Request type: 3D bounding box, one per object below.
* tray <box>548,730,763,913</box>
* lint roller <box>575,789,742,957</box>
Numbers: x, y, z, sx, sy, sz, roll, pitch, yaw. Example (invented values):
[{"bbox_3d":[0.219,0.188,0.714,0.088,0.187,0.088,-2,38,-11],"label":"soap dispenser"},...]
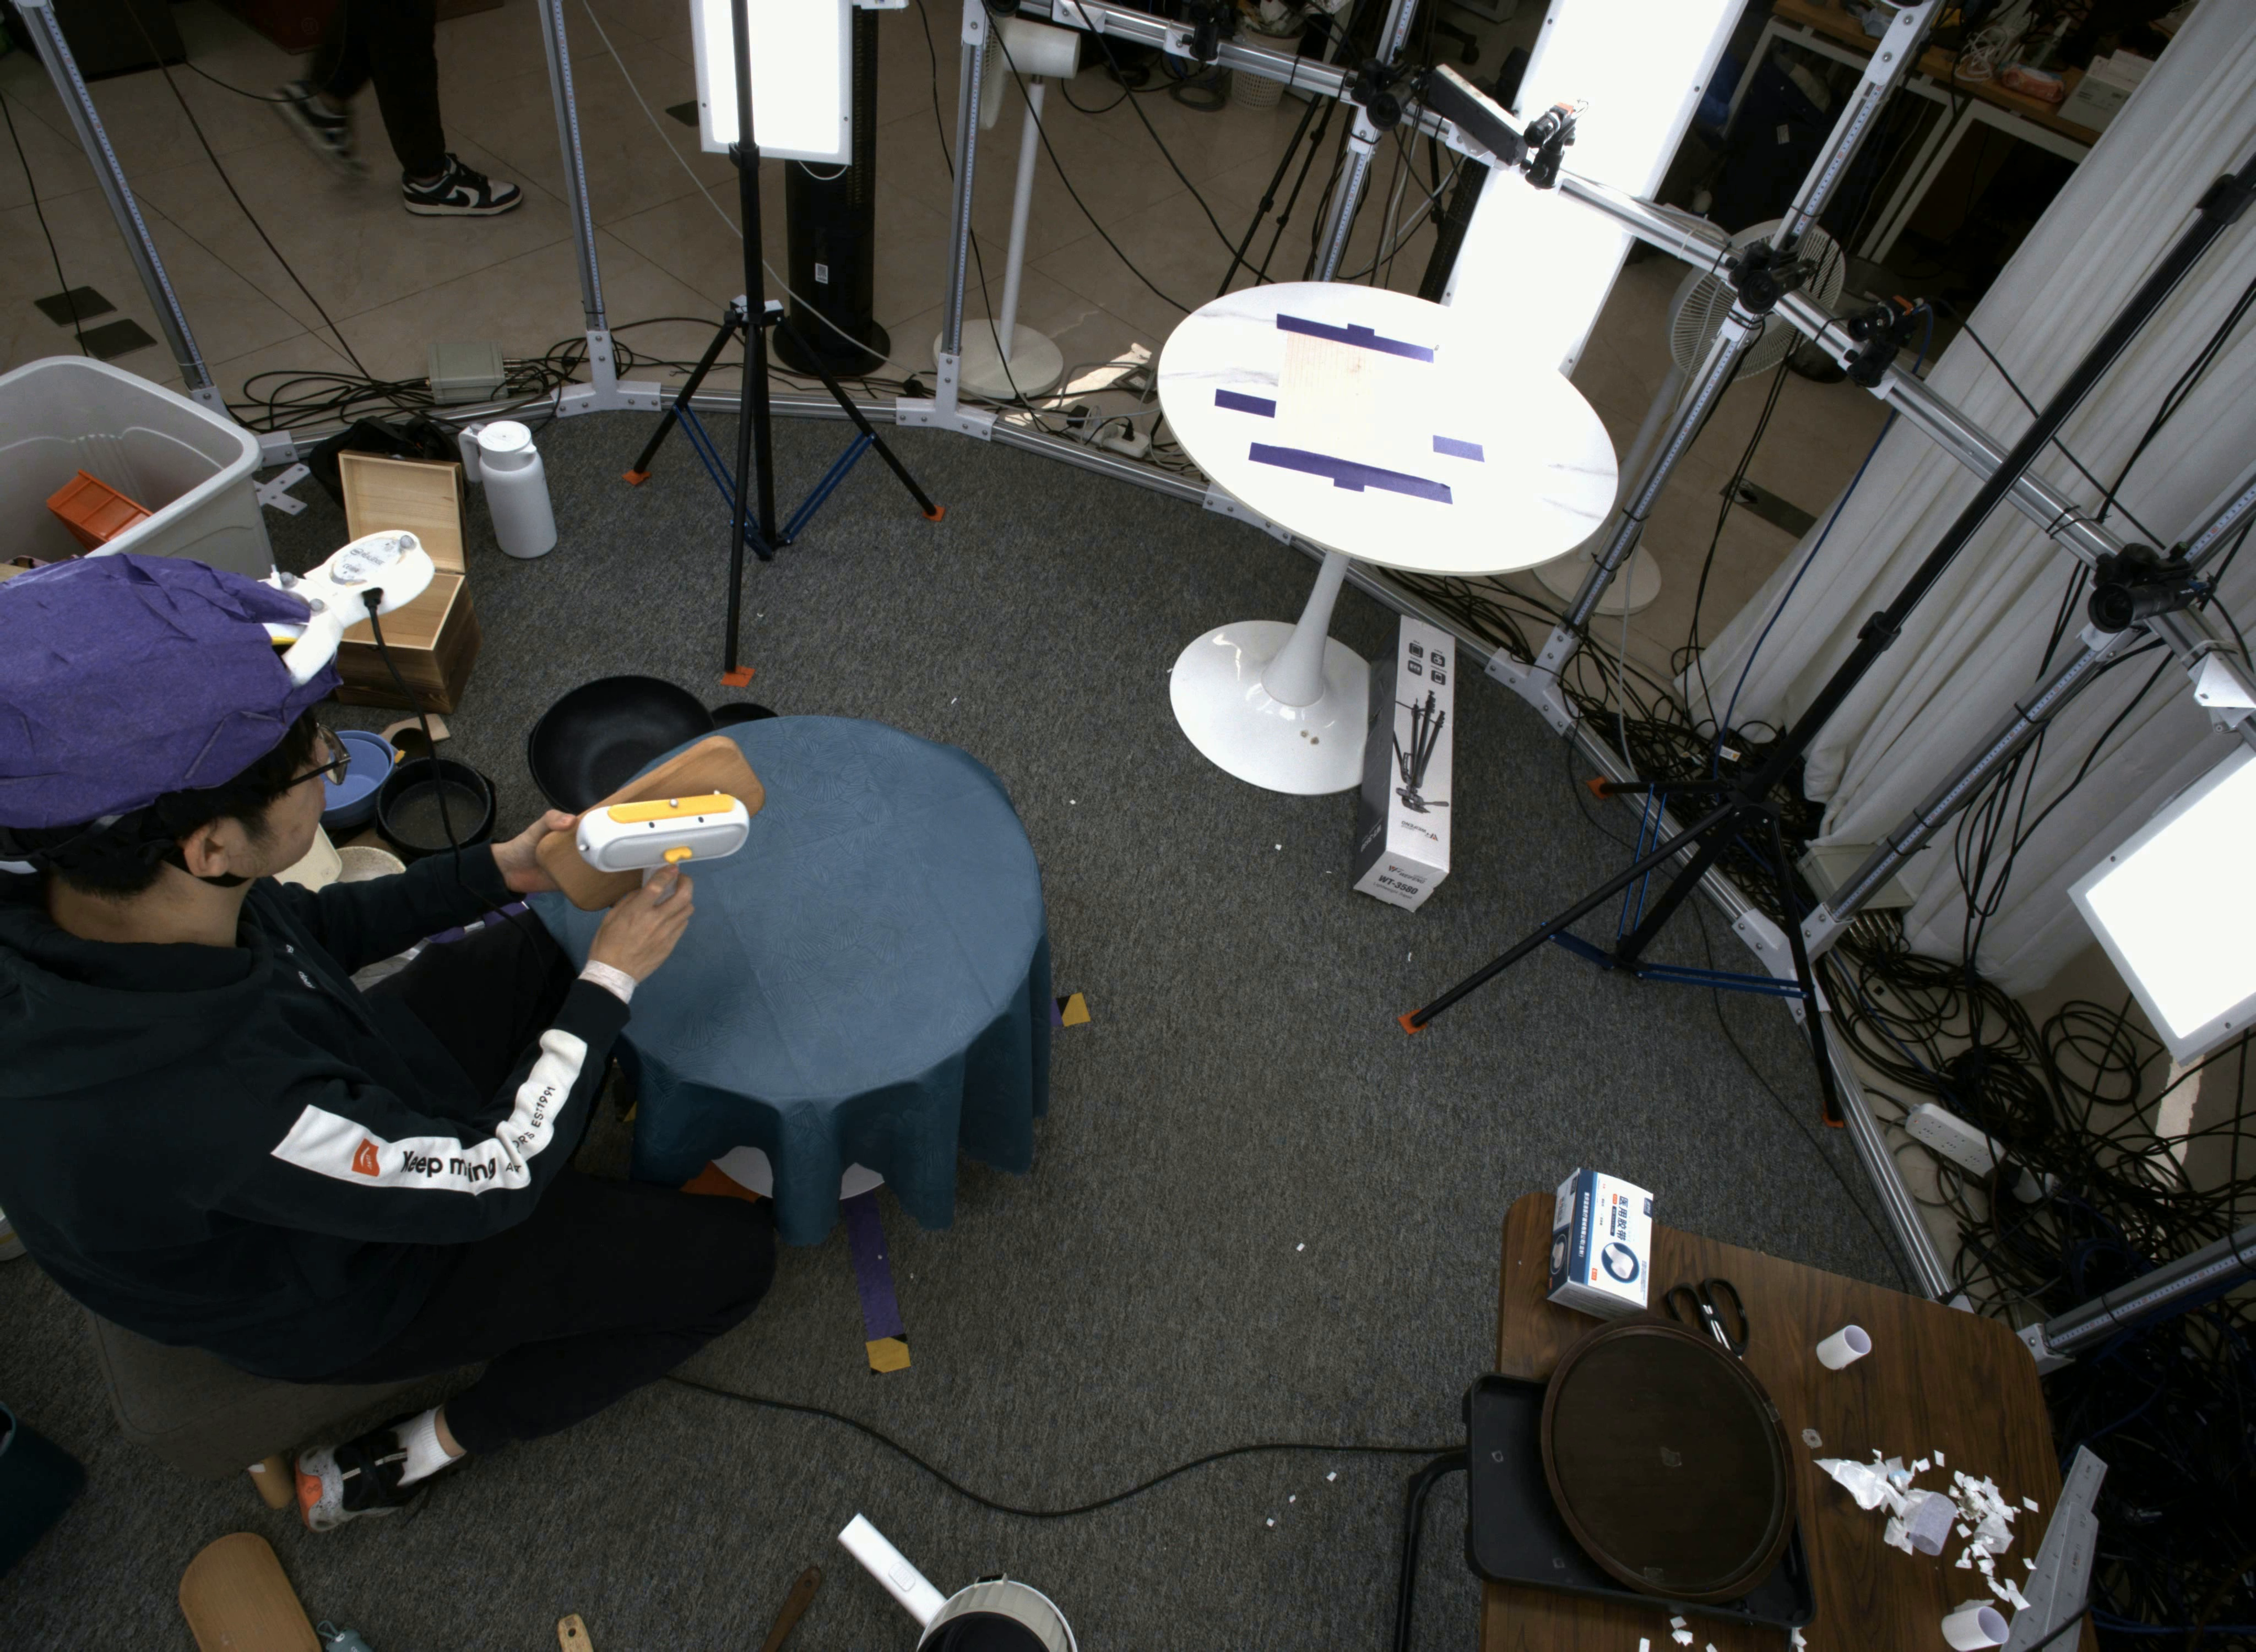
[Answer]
[{"bbox_3d":[-0.534,-0.004,1.445,0.250,0.135,0.022,-35,49,-14],"label":"tray"},{"bbox_3d":[-0.523,0.054,1.427,0.072,0.196,0.195,40,37,27],"label":"lint roller"}]
